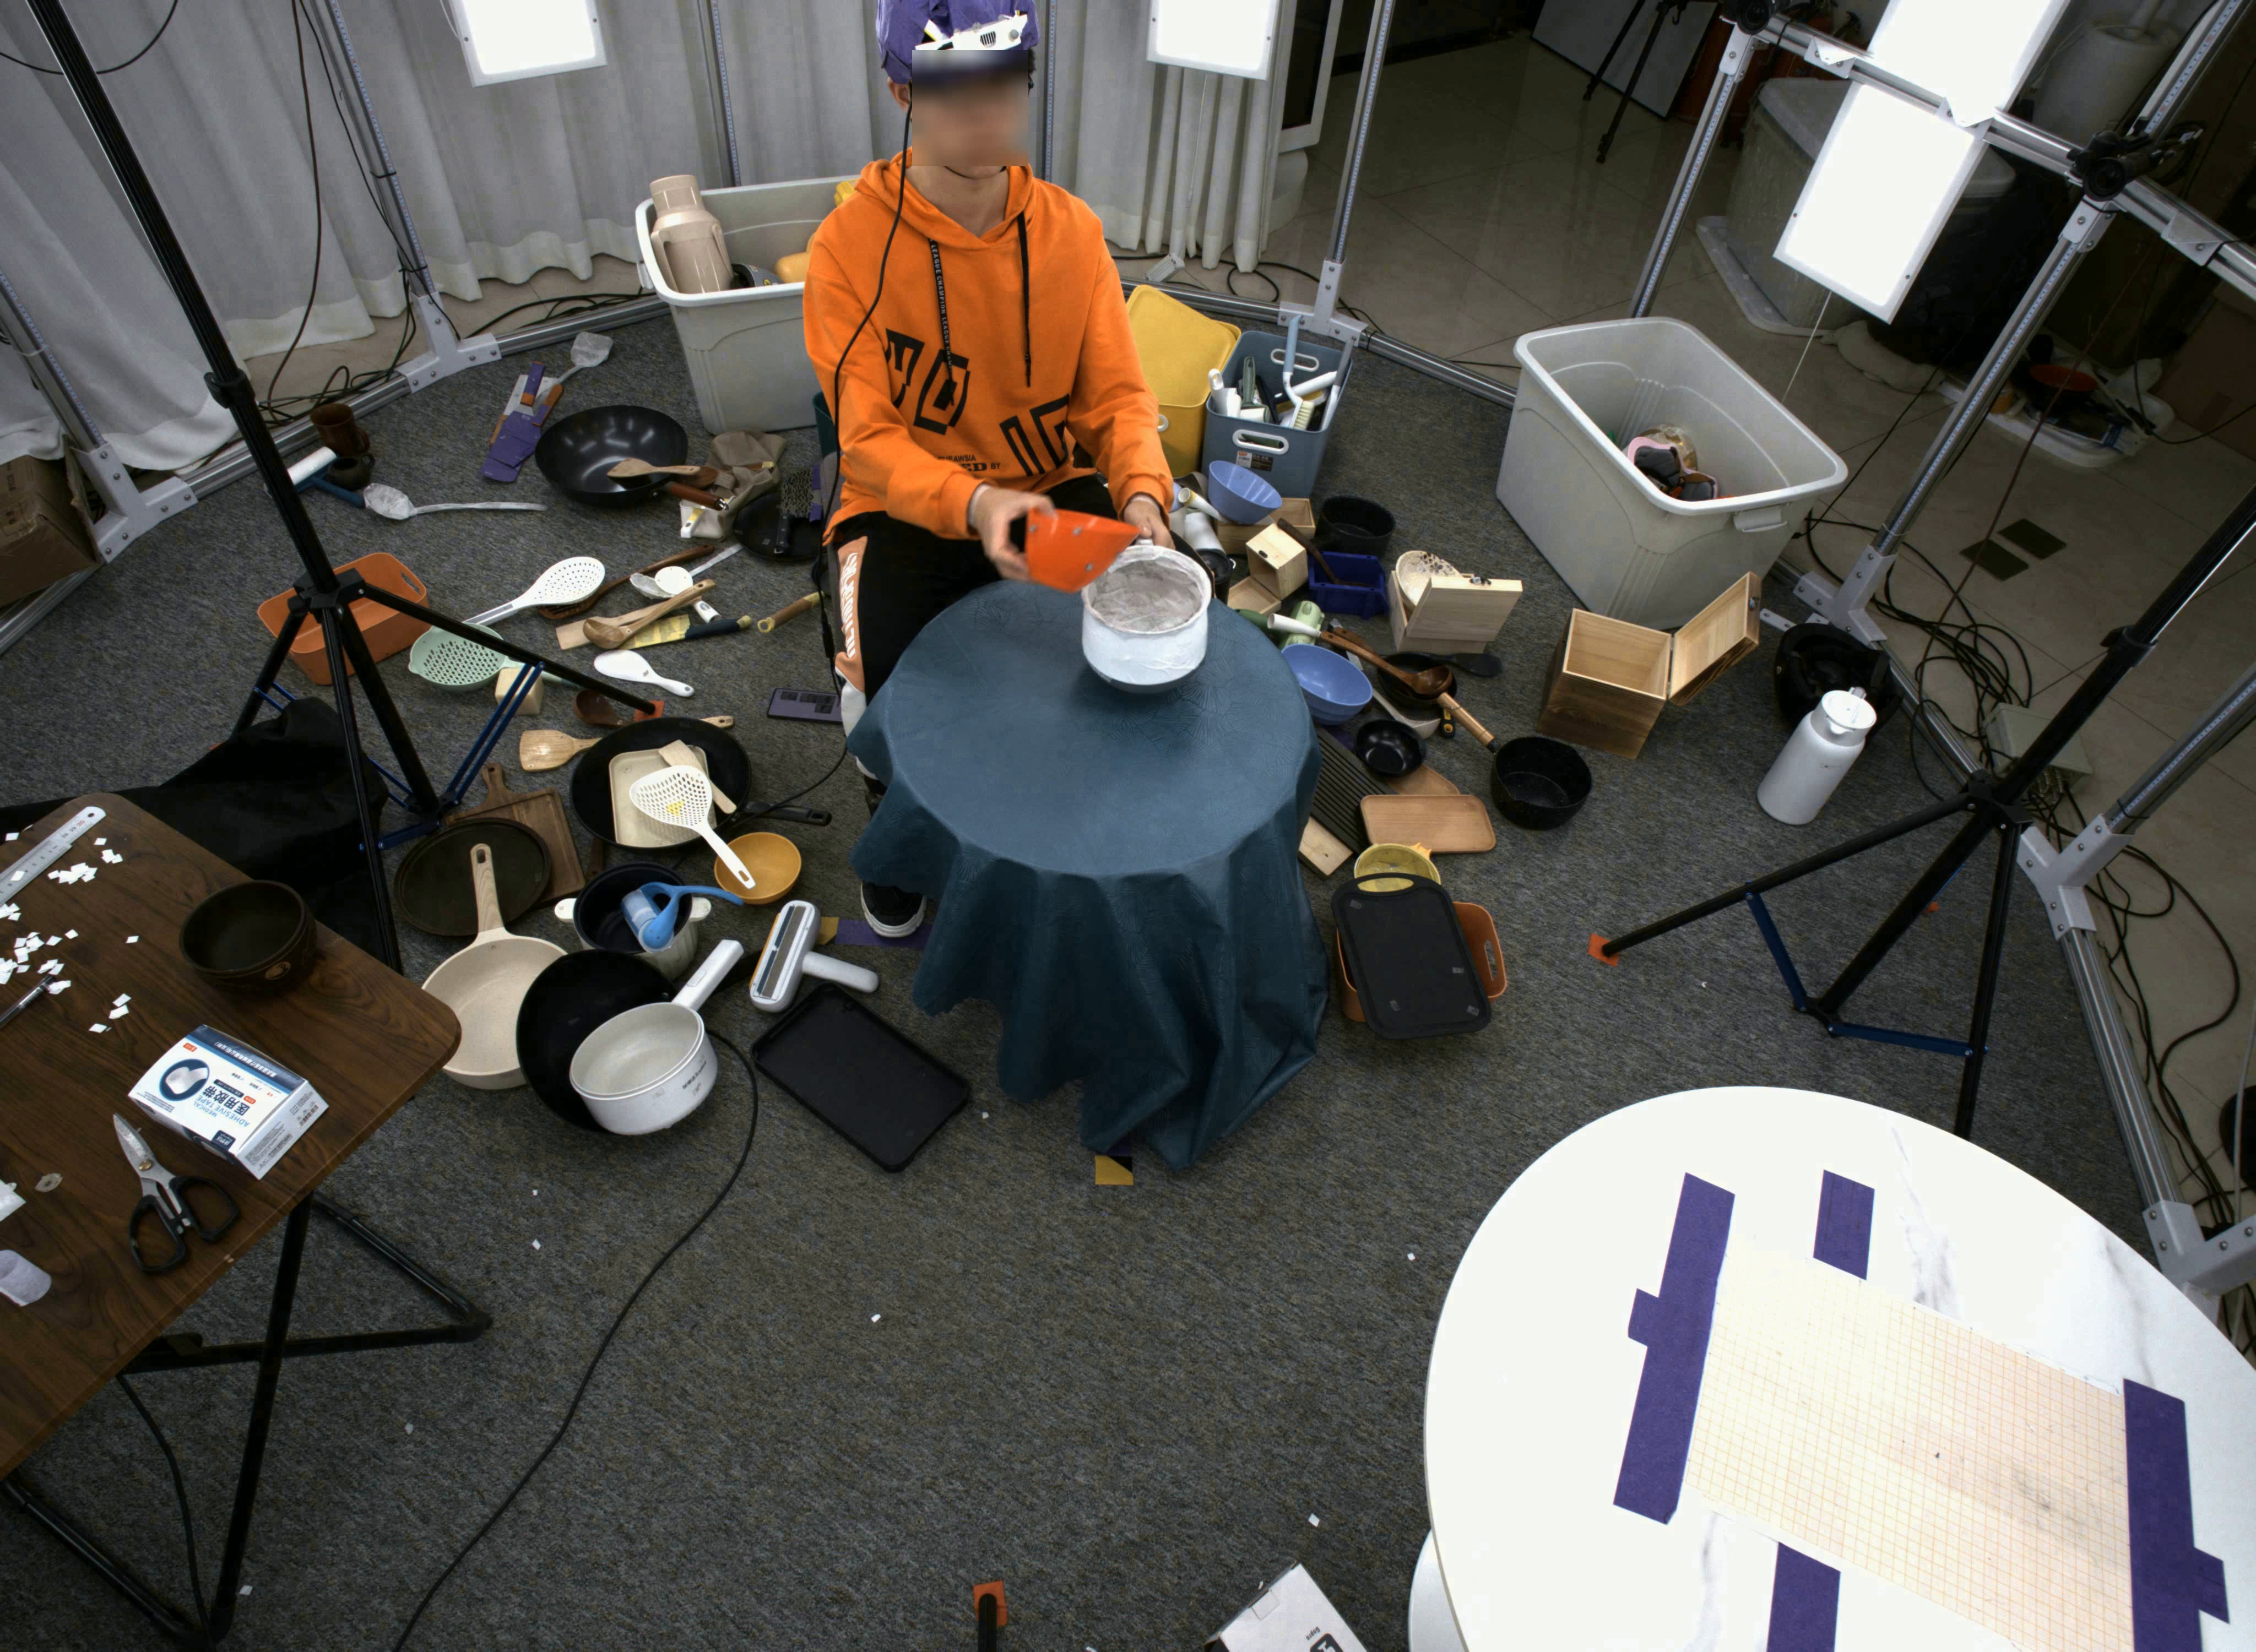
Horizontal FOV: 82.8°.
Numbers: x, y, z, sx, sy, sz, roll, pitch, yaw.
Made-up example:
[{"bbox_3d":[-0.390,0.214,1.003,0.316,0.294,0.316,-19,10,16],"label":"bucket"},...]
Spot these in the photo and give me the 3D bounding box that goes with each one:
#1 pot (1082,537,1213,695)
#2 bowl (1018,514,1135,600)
[{"bbox_3d":[0.024,-0.304,1.802,0.178,0.133,0.239,-1,51,-2],"label":"pot"},{"bbox_3d":[-0.077,-0.350,1.670,0.147,0.103,0.150,17,19,-6],"label":"bowl"}]
